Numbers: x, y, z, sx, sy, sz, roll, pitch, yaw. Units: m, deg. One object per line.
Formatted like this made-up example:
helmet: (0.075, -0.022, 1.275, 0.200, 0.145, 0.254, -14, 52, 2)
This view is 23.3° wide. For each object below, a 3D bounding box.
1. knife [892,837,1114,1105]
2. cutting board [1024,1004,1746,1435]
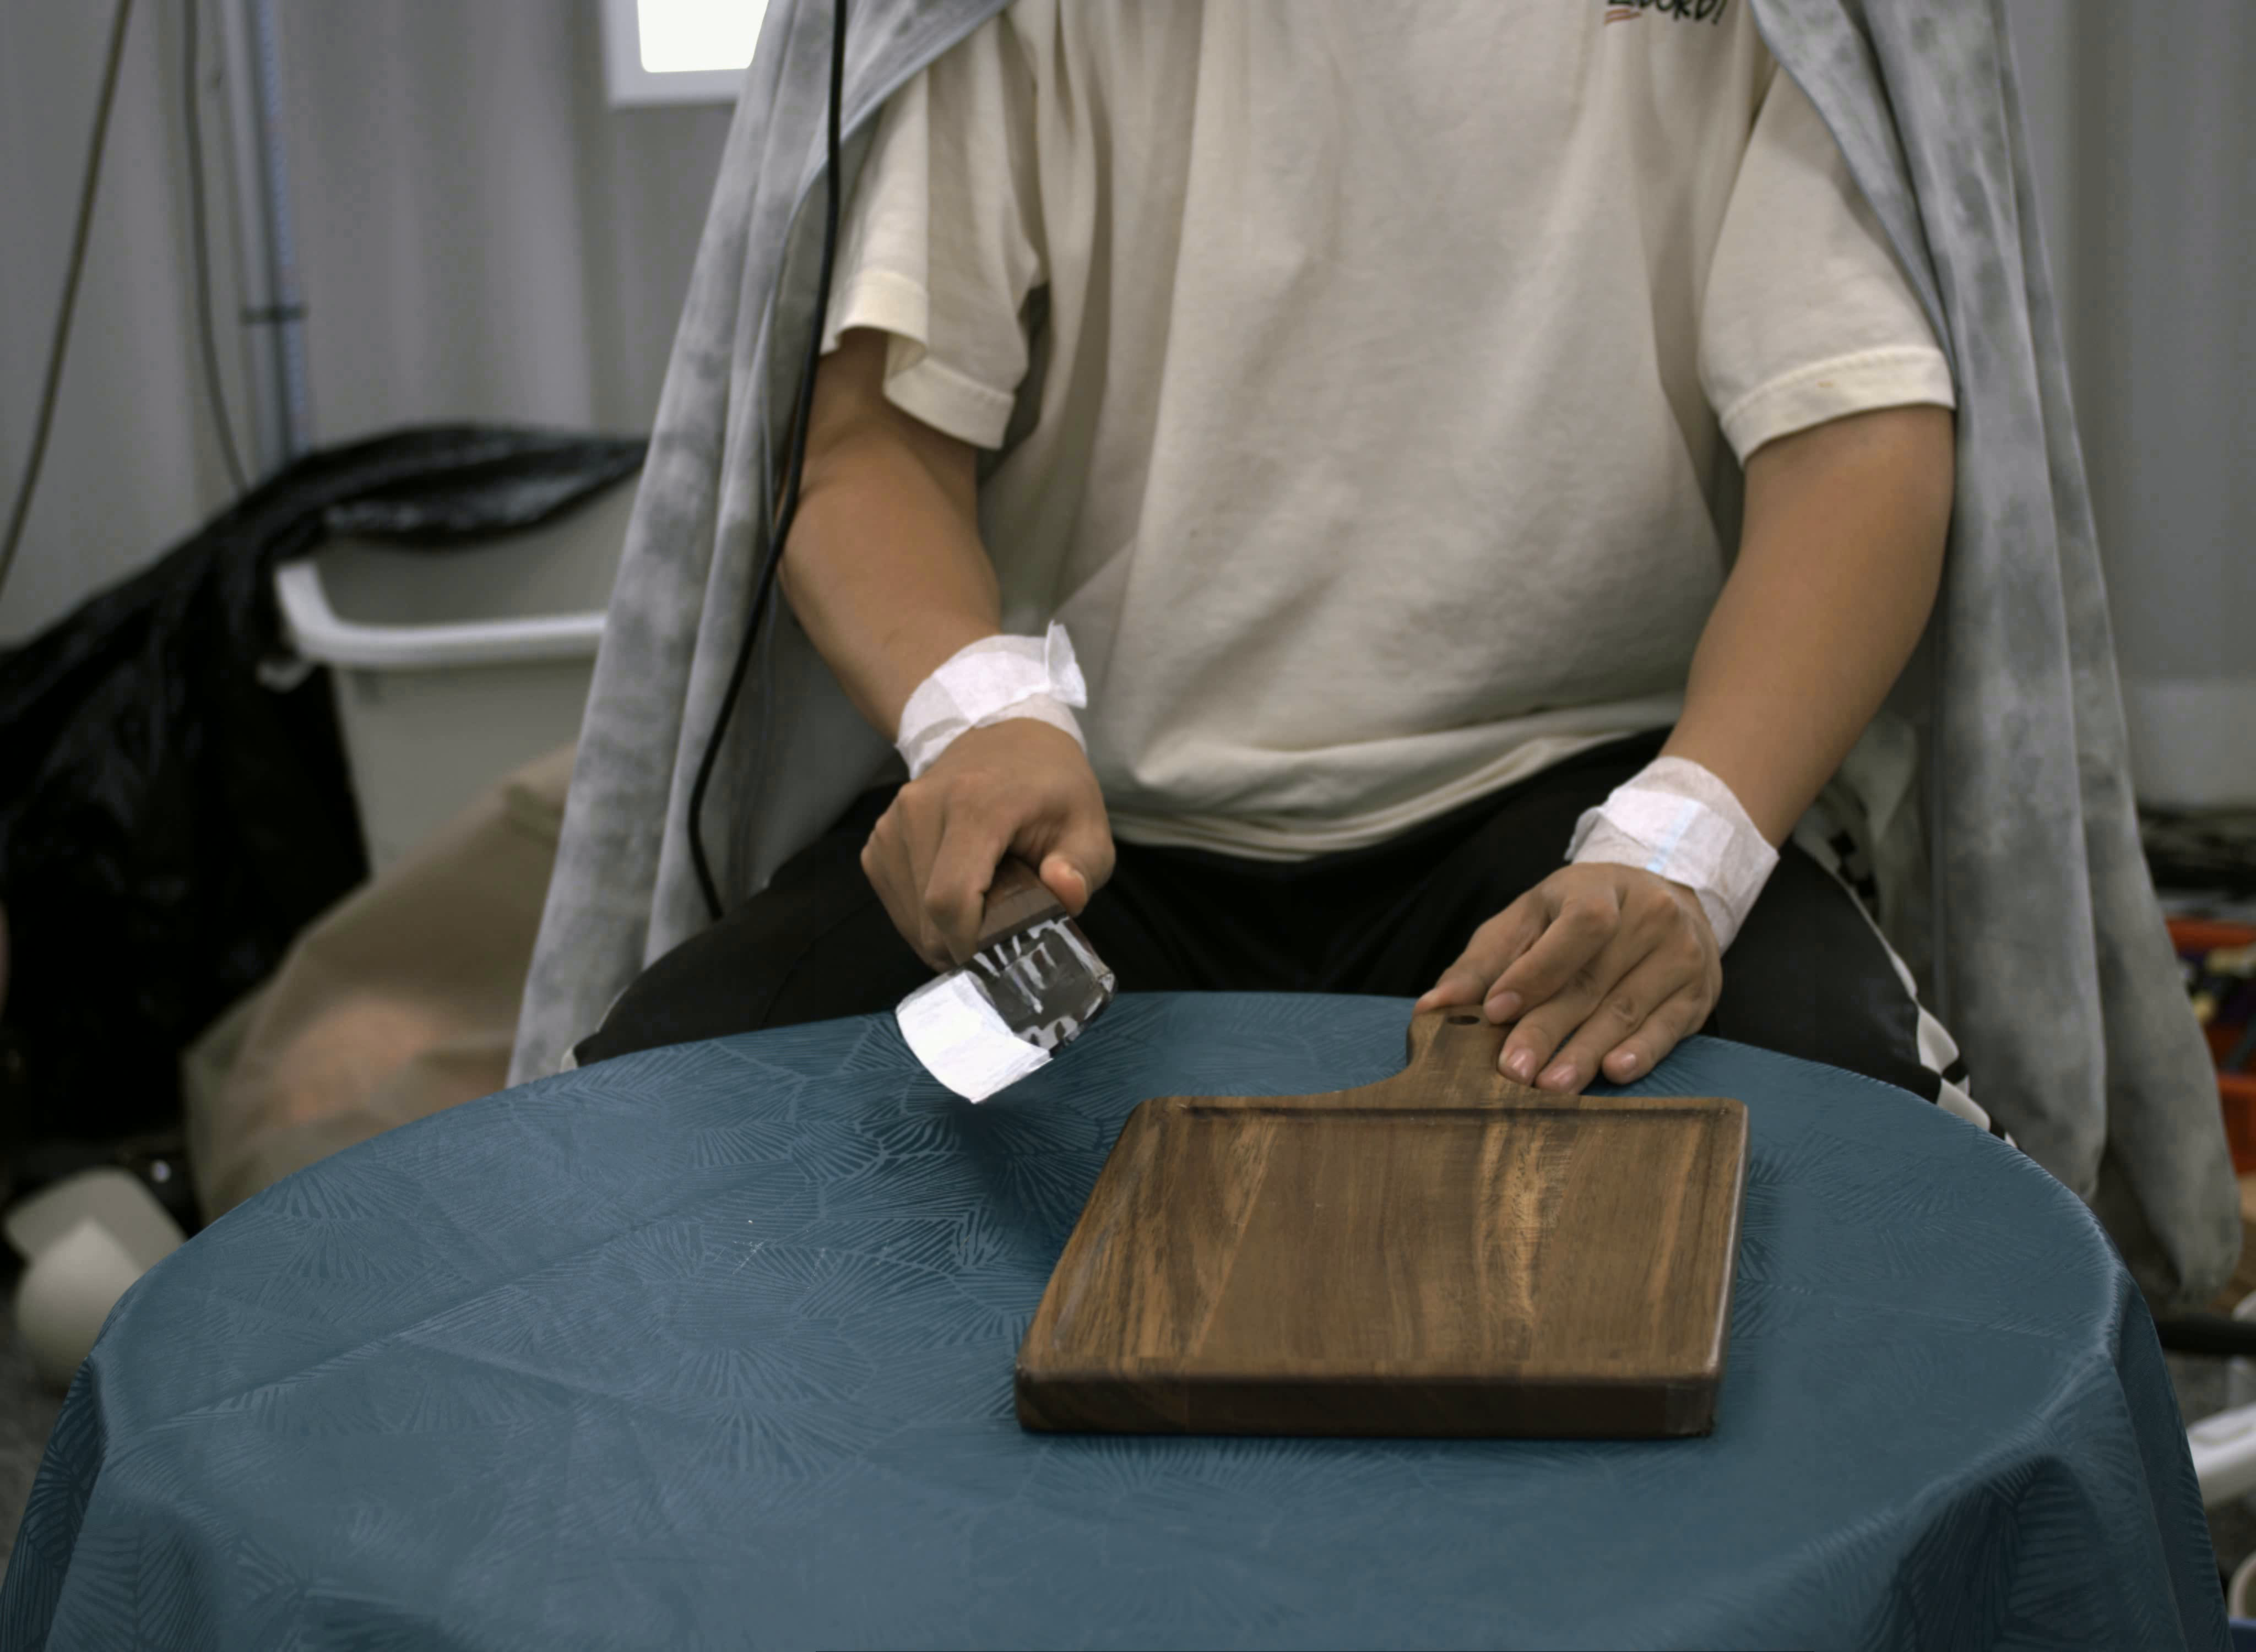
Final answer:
knife: (-0.046, 0.048, 1.799, 0.068, 0.024, 0.301, -28, 12, -2)
cutting board: (0.089, 0.114, 1.666, 0.200, 0.023, 0.354, -1, 14, 8)
